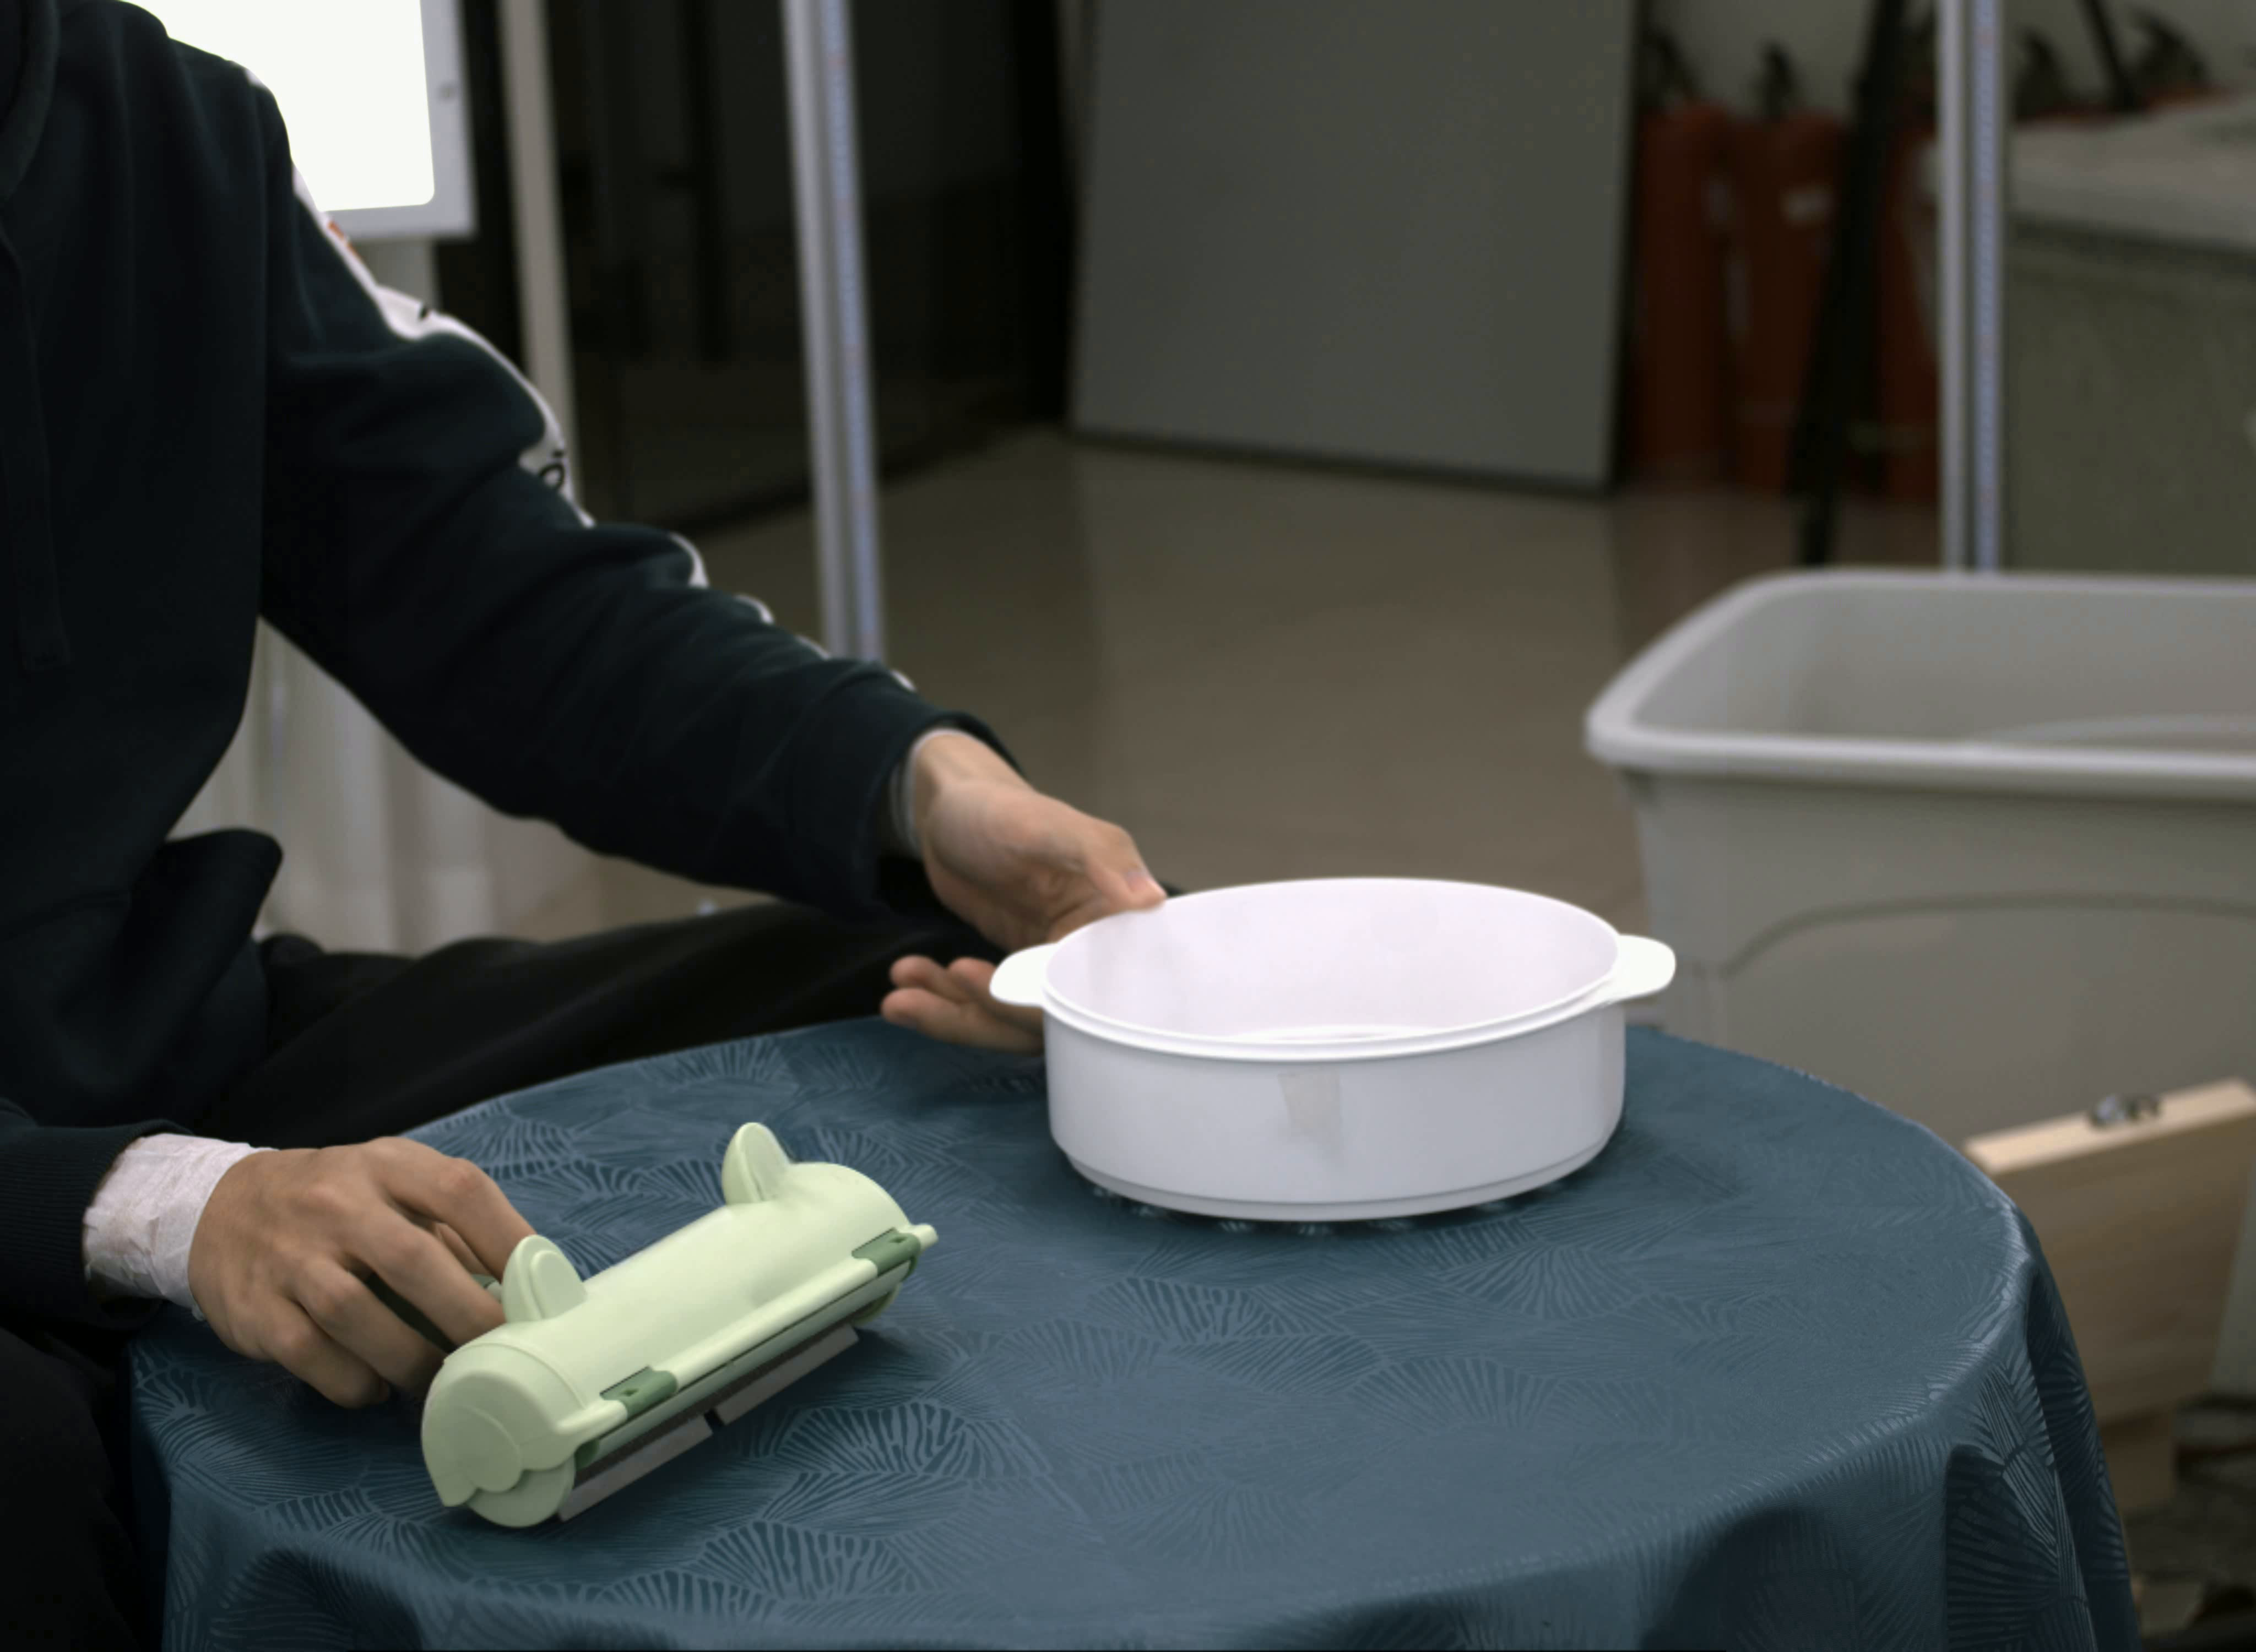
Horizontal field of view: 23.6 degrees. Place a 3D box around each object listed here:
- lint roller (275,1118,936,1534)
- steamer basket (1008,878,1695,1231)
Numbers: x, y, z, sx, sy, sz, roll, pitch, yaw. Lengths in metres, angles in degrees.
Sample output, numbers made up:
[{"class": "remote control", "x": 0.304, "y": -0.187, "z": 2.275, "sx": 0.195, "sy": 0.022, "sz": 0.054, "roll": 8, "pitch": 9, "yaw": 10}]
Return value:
[{"class": "lint roller", "x": -0.179, "y": 0.135, "z": 1.603, "sx": 0.184, "sy": 0.083, "sz": 0.195, "roll": 9, "pitch": 18, "yaw": 29}, {"class": "steamer basket", "x": 0.075, "y": 0.075, "z": 1.792, "sx": 0.228, "sy": 0.070, "sz": 0.201, "roll": -1, "pitch": 15, "yaw": 8}]
